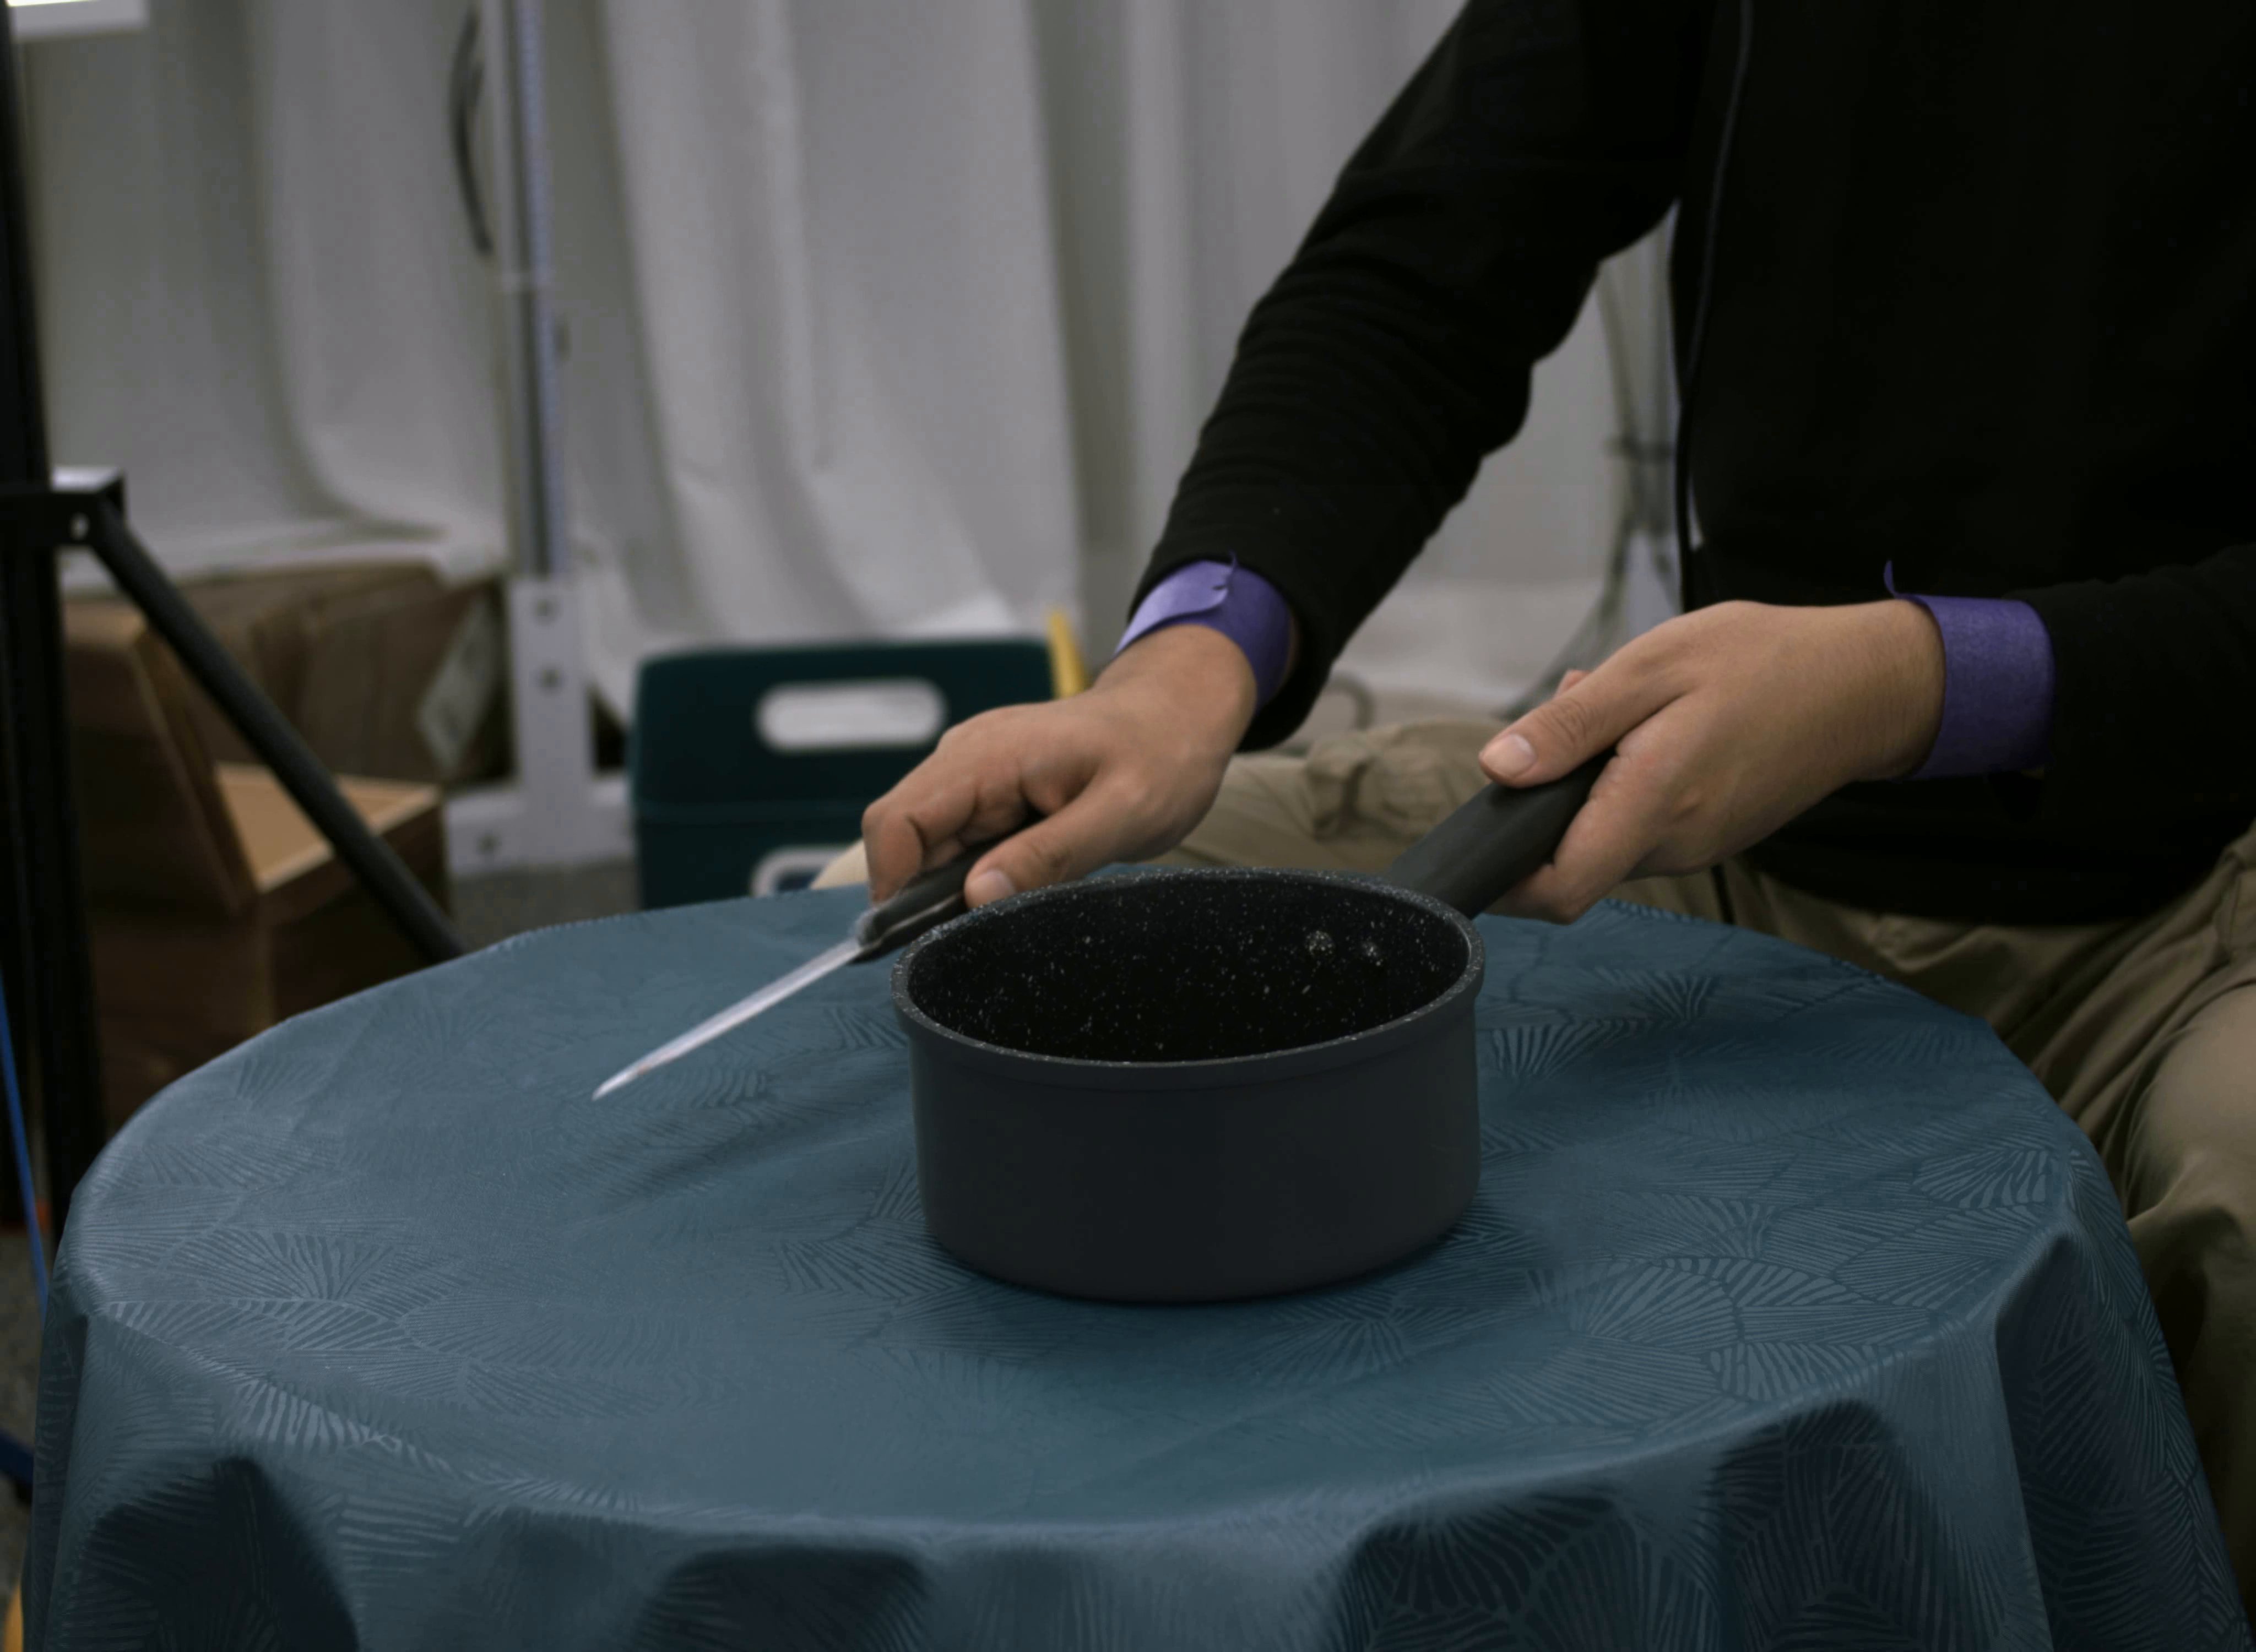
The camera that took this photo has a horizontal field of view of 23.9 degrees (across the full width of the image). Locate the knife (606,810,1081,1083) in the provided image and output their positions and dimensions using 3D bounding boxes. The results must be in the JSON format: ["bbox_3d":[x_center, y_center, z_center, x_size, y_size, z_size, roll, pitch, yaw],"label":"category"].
[{"bbox_3d":[-0.089,0.038,1.664,0.025,0.016,0.234,-11,12,40],"label":"knife"}]

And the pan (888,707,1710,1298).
[{"bbox_3d":[0.069,0.049,1.579,0.176,0.086,0.322,12,24,40],"label":"pan"}]
